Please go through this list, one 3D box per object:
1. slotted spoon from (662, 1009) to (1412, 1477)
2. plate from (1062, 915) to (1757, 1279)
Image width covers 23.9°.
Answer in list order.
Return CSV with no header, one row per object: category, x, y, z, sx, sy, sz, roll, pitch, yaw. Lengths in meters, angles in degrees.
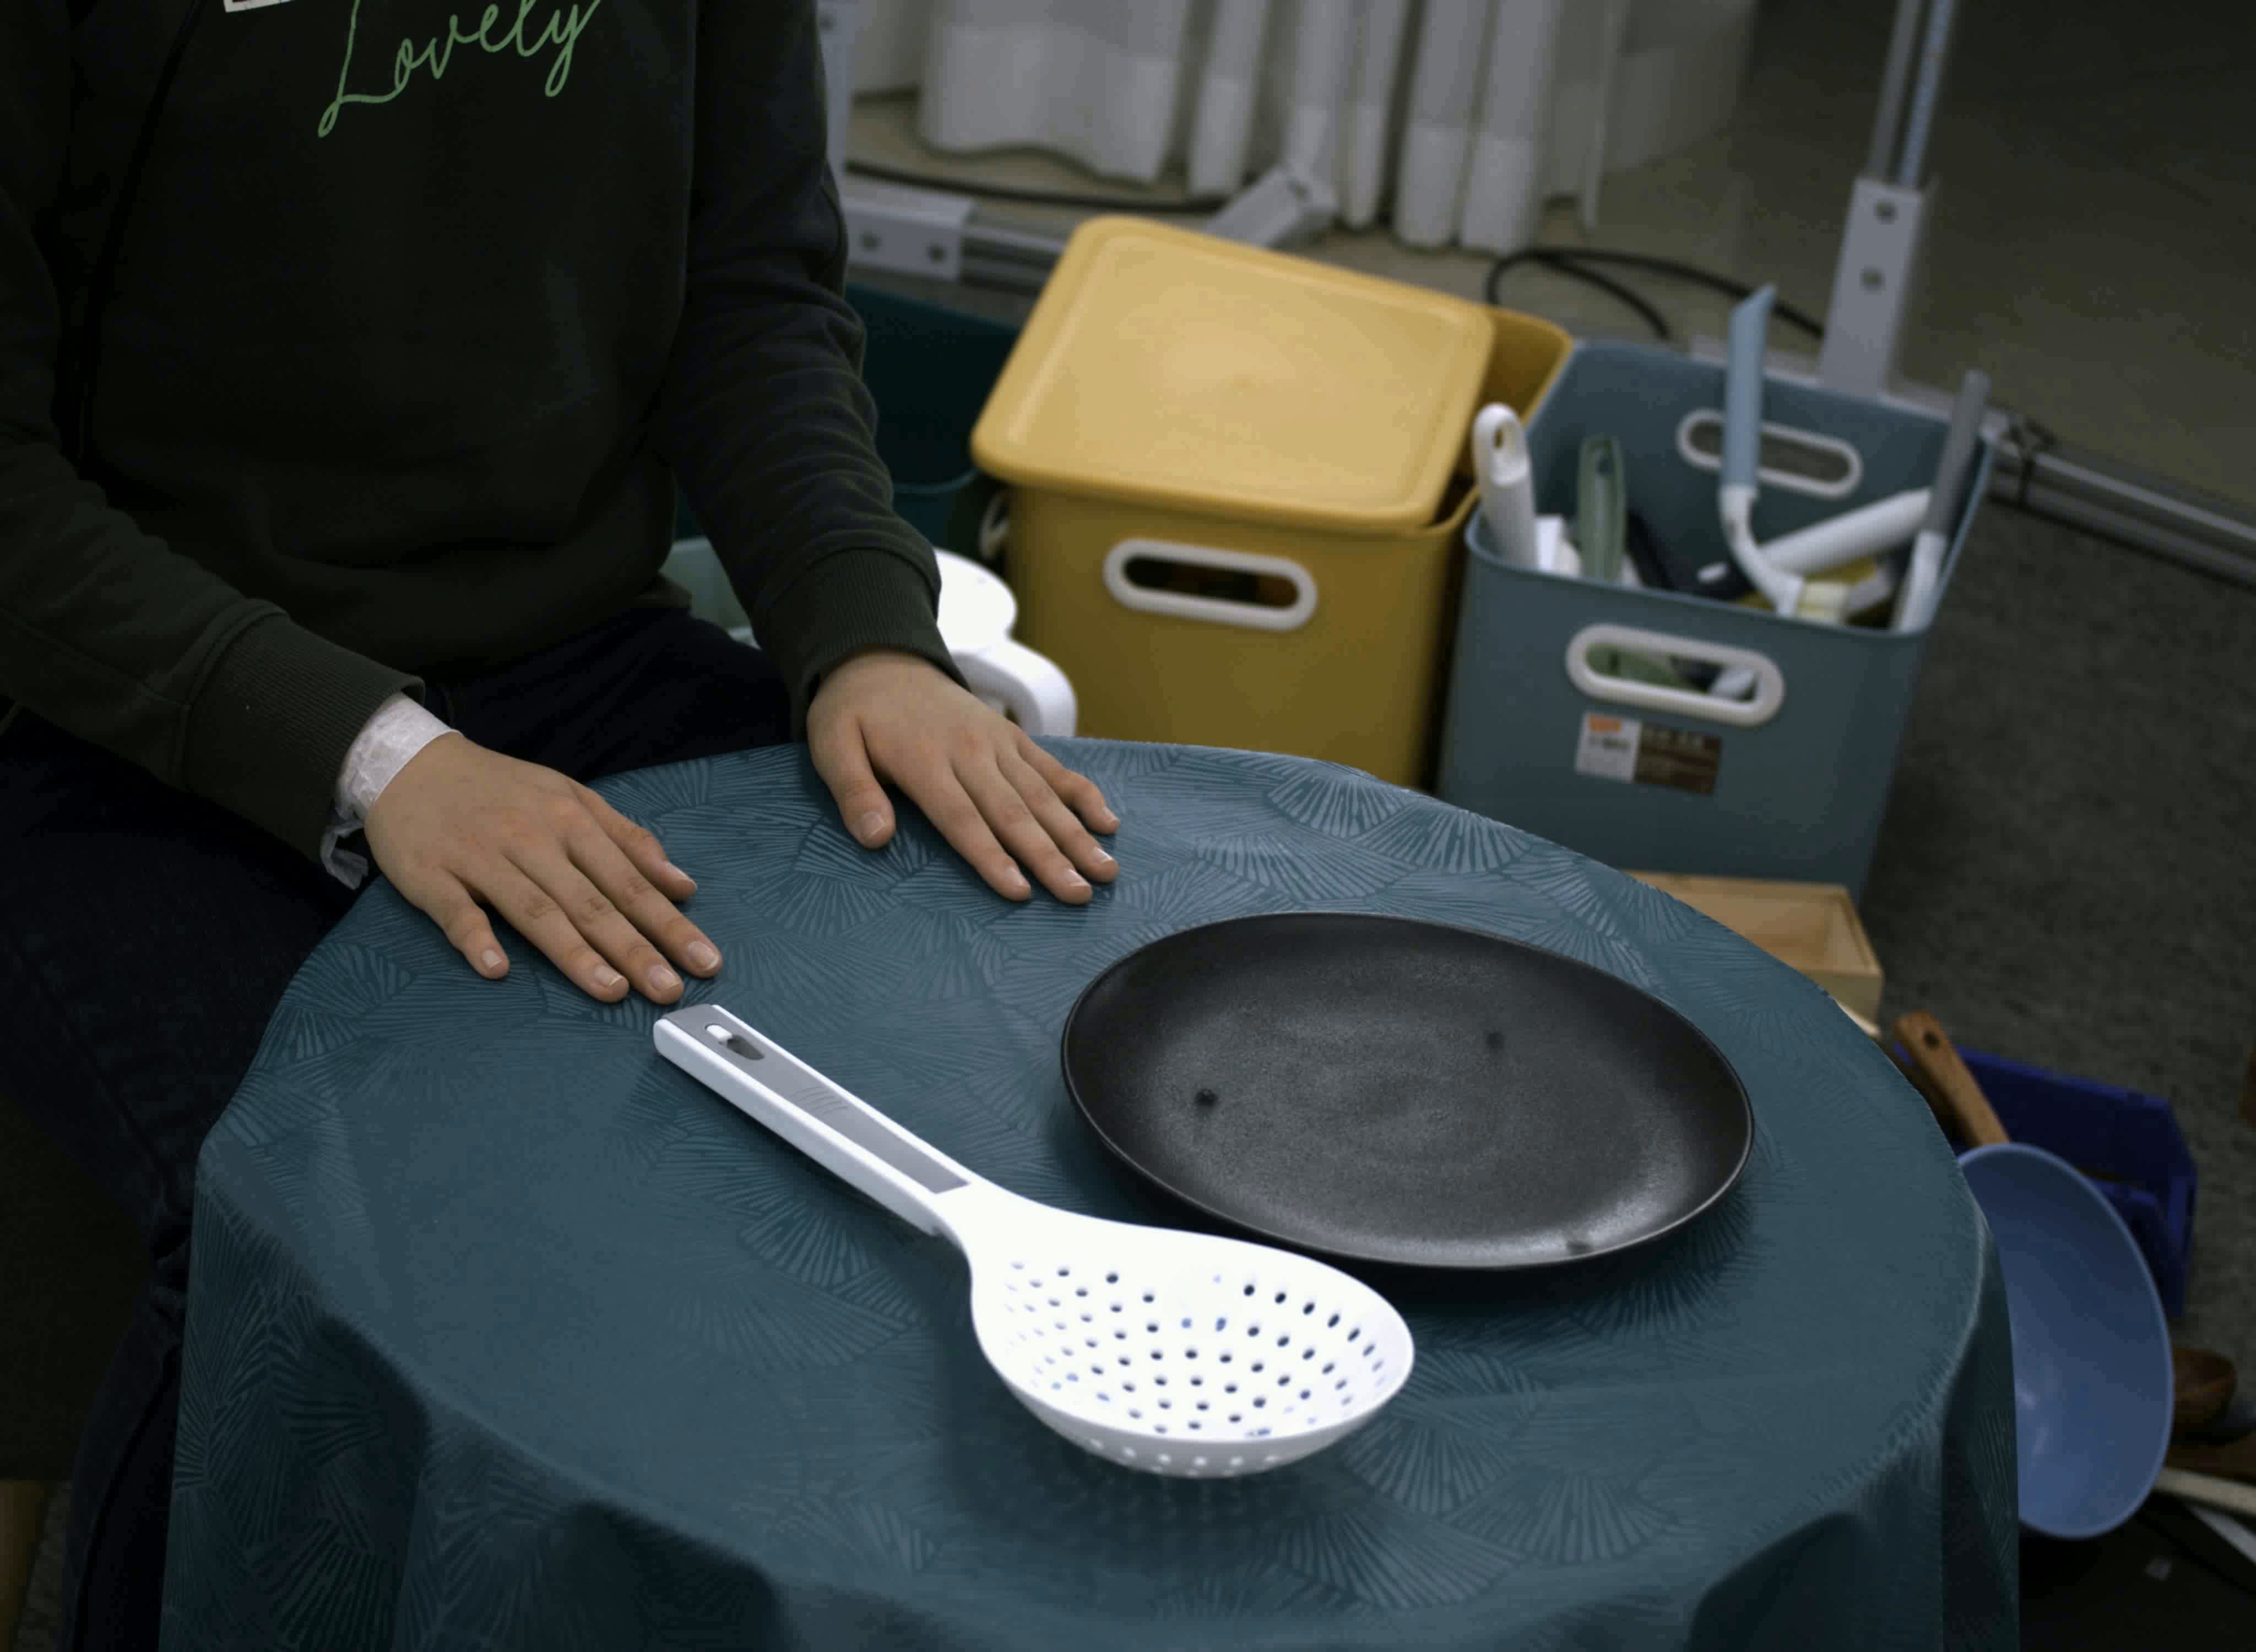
slotted spoon,-0.047,0.129,1.729,0.135,0.045,0.353,-12,31,-36
plate,0.097,0.097,1.849,0.243,0.023,0.246,5,27,-3
